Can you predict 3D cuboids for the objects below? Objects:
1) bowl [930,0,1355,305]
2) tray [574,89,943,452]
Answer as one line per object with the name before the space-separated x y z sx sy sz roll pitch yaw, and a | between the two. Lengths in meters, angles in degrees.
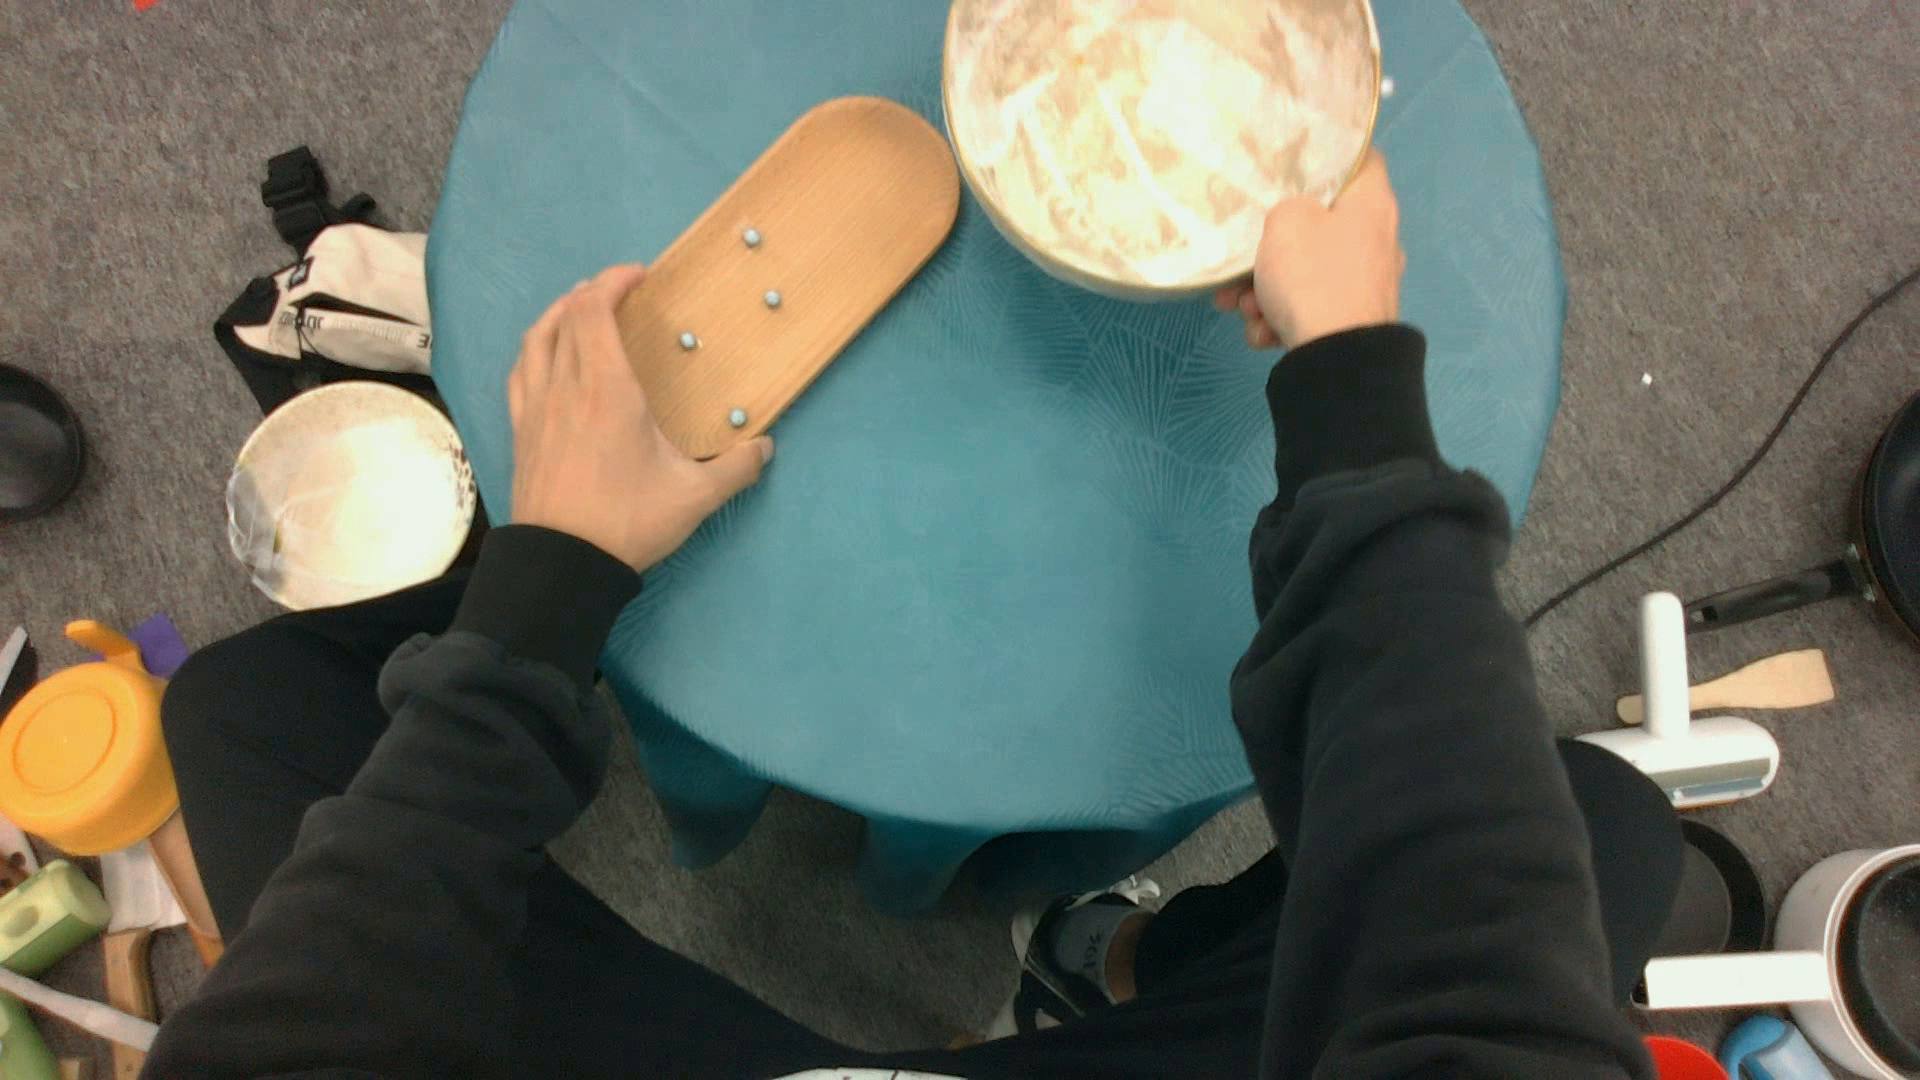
bowl | 0.080 -0.205 0.685 0.215 0.094 0.215 1 83 -5
tray | -0.102 -0.141 0.713 0.101 0.020 0.232 40 76 4
